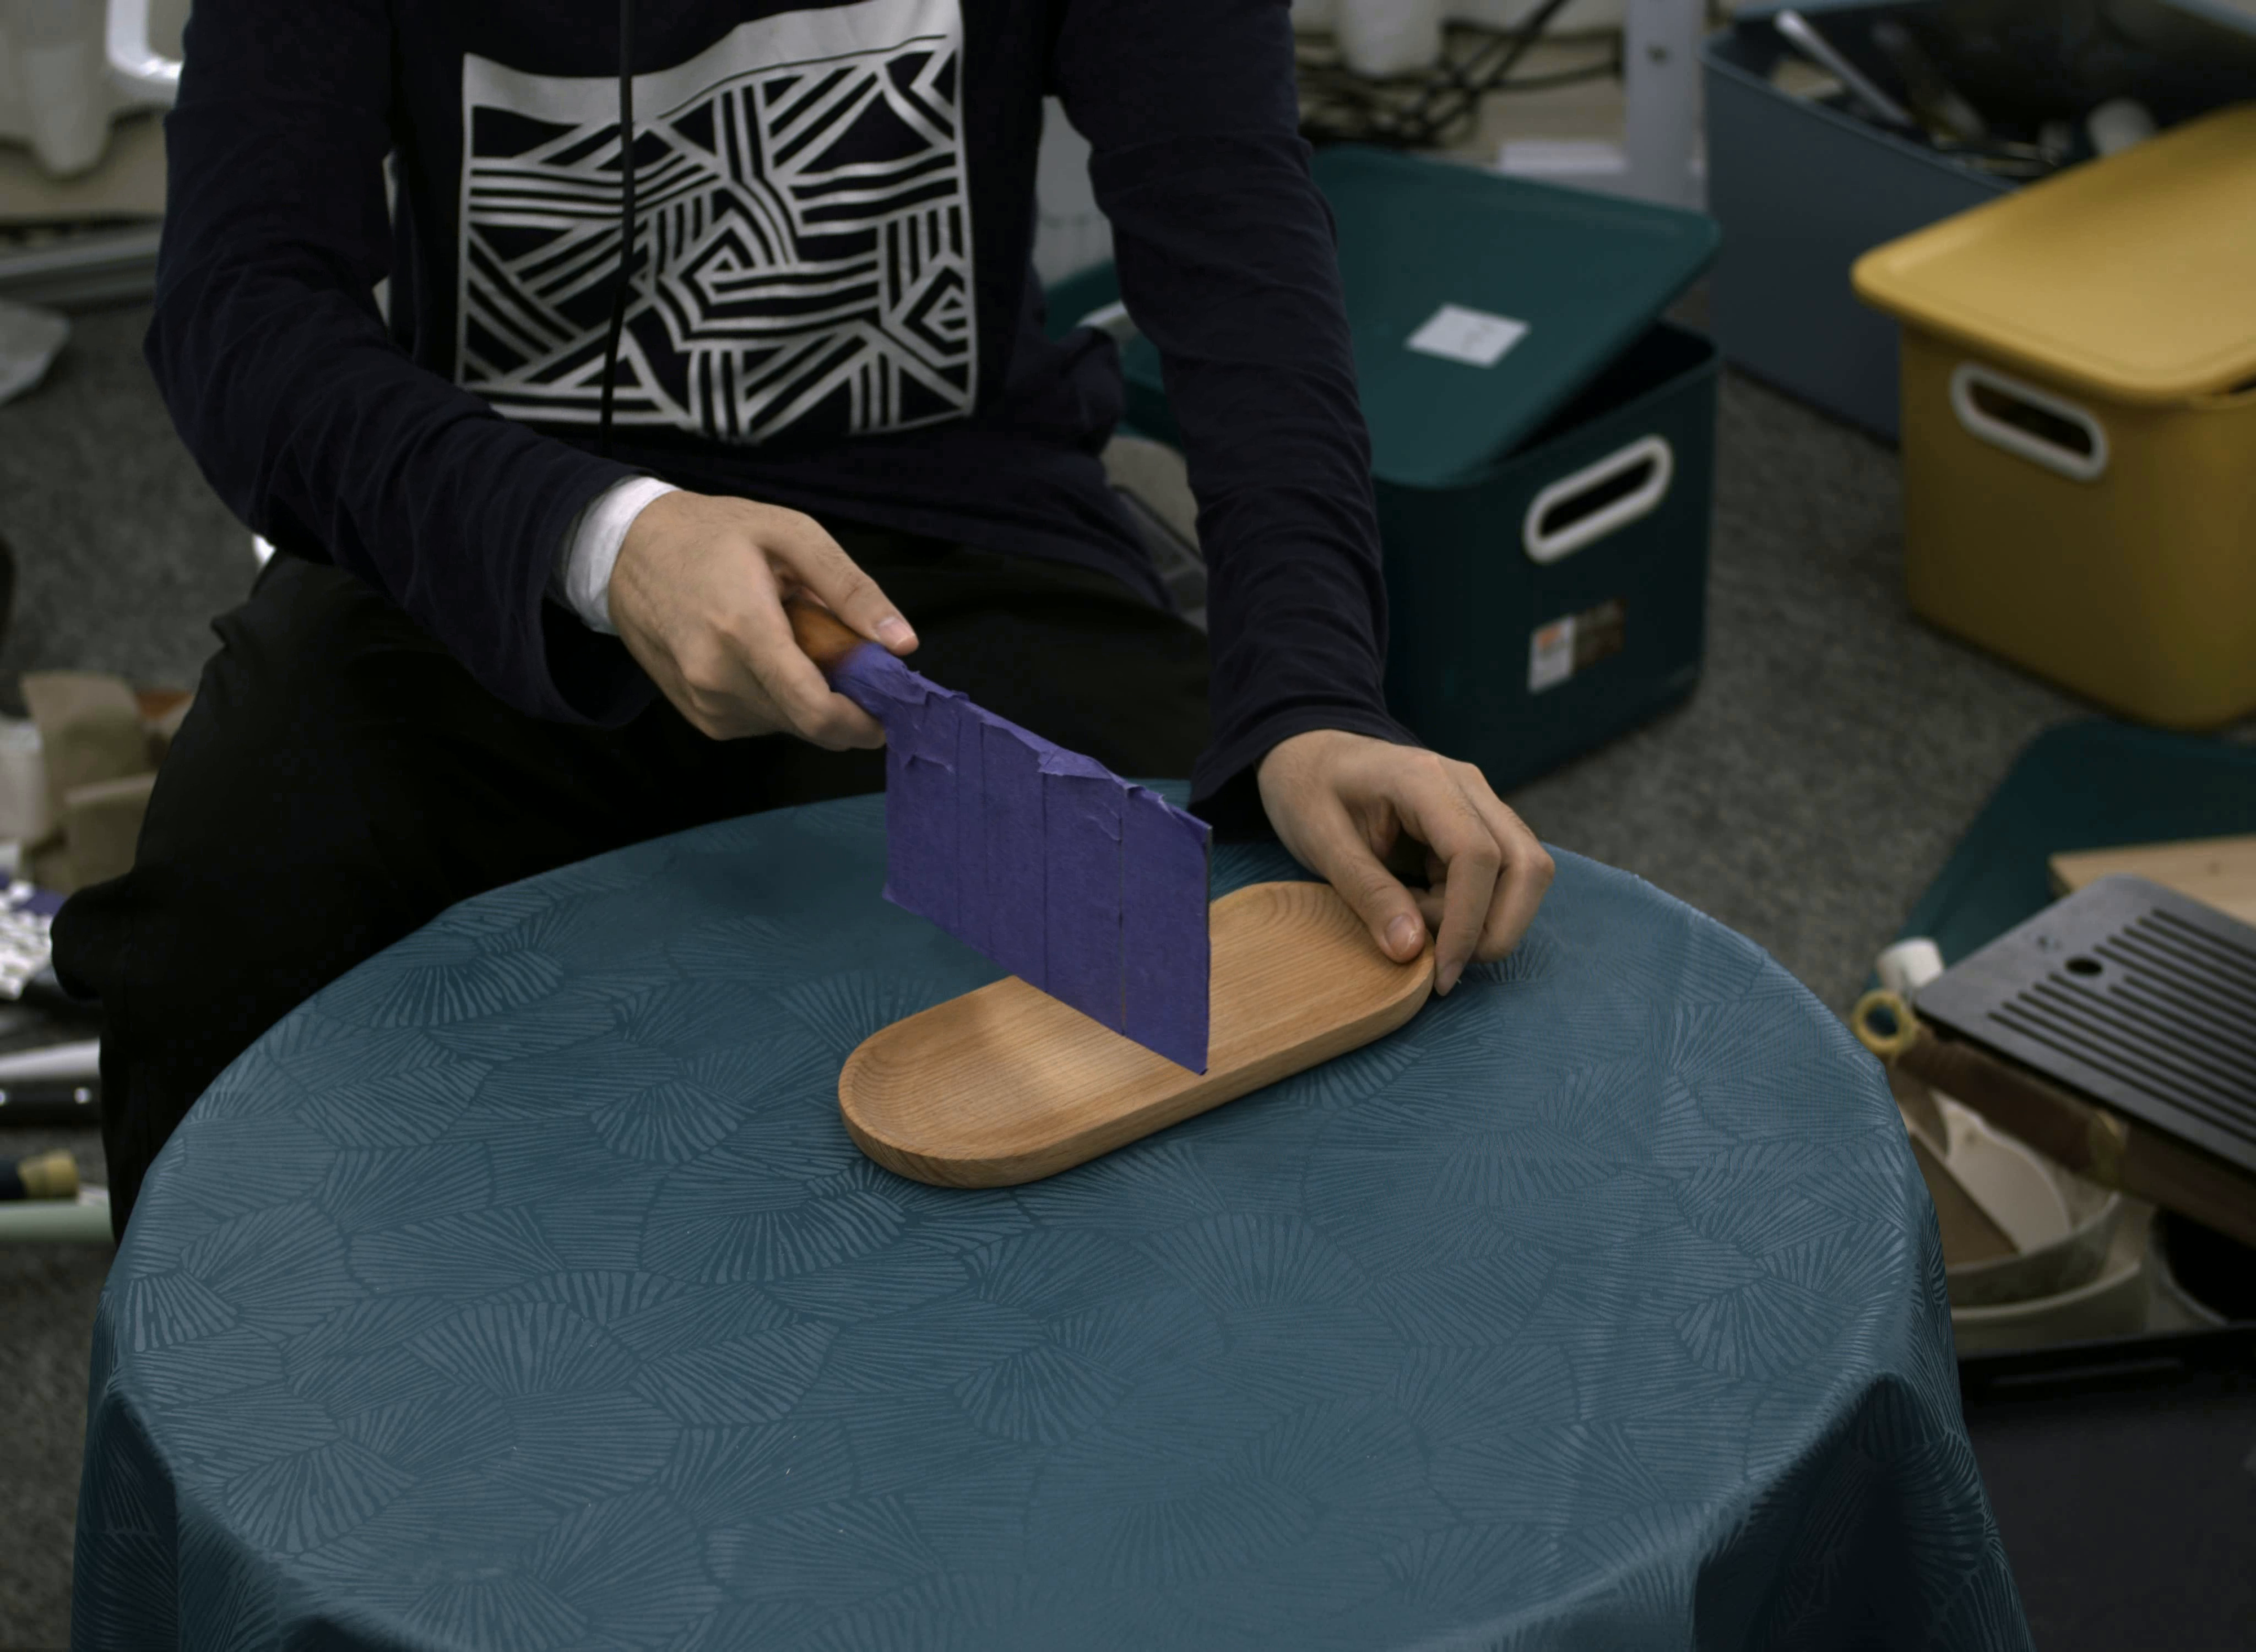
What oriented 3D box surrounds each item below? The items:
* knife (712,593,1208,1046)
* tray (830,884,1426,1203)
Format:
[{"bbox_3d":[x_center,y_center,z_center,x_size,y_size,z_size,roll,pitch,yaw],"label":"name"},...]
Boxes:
[{"bbox_3d":[-0.061,-0.003,1.943,0.032,0.103,0.315,-7,19,-30],"label":"knife"},{"bbox_3d":[0.002,0.074,1.936,0.233,0.020,0.102,-24,34,-30],"label":"tray"}]
